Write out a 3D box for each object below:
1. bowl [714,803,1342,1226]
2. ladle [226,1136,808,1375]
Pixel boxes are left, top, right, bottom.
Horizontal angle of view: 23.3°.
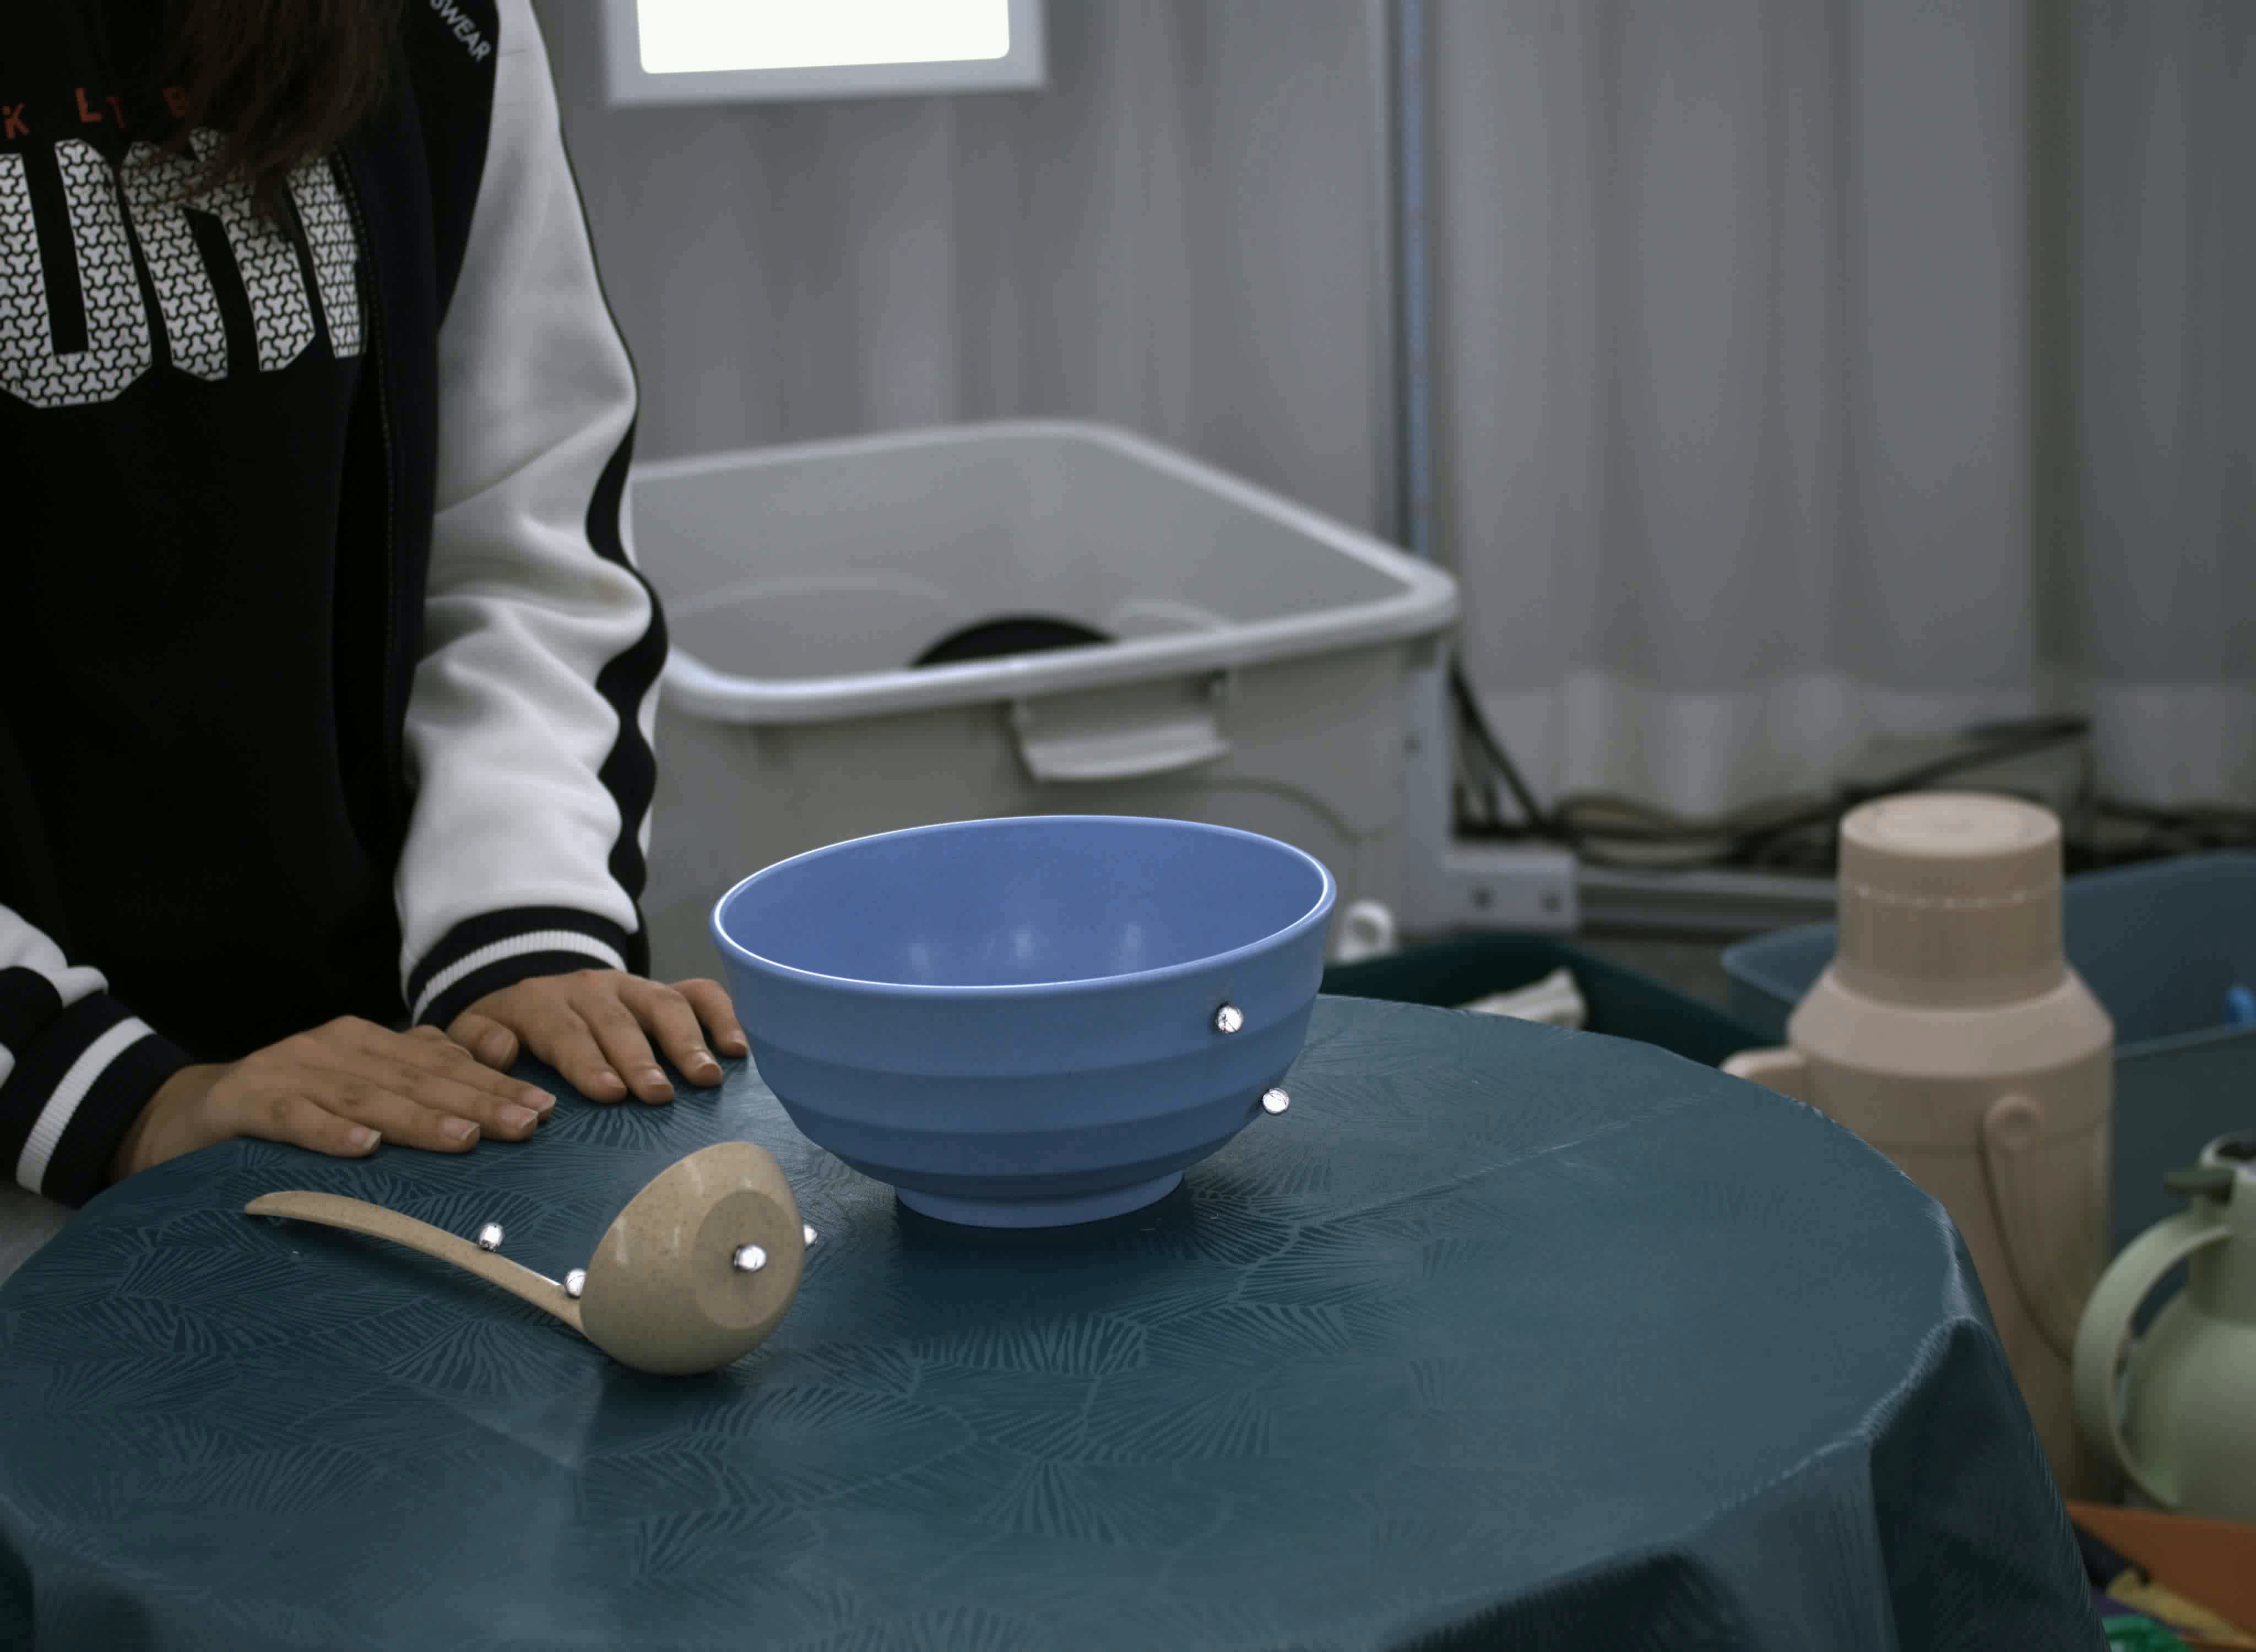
[{"bbox_3d":[-0.031,0.065,1.717,0.196,0.095,0.198,0,16,0],"label":"bowl"},{"bbox_3d":[-0.194,0.107,1.638,0.072,0.072,0.256,-14,18,-42],"label":"ladle"}]
